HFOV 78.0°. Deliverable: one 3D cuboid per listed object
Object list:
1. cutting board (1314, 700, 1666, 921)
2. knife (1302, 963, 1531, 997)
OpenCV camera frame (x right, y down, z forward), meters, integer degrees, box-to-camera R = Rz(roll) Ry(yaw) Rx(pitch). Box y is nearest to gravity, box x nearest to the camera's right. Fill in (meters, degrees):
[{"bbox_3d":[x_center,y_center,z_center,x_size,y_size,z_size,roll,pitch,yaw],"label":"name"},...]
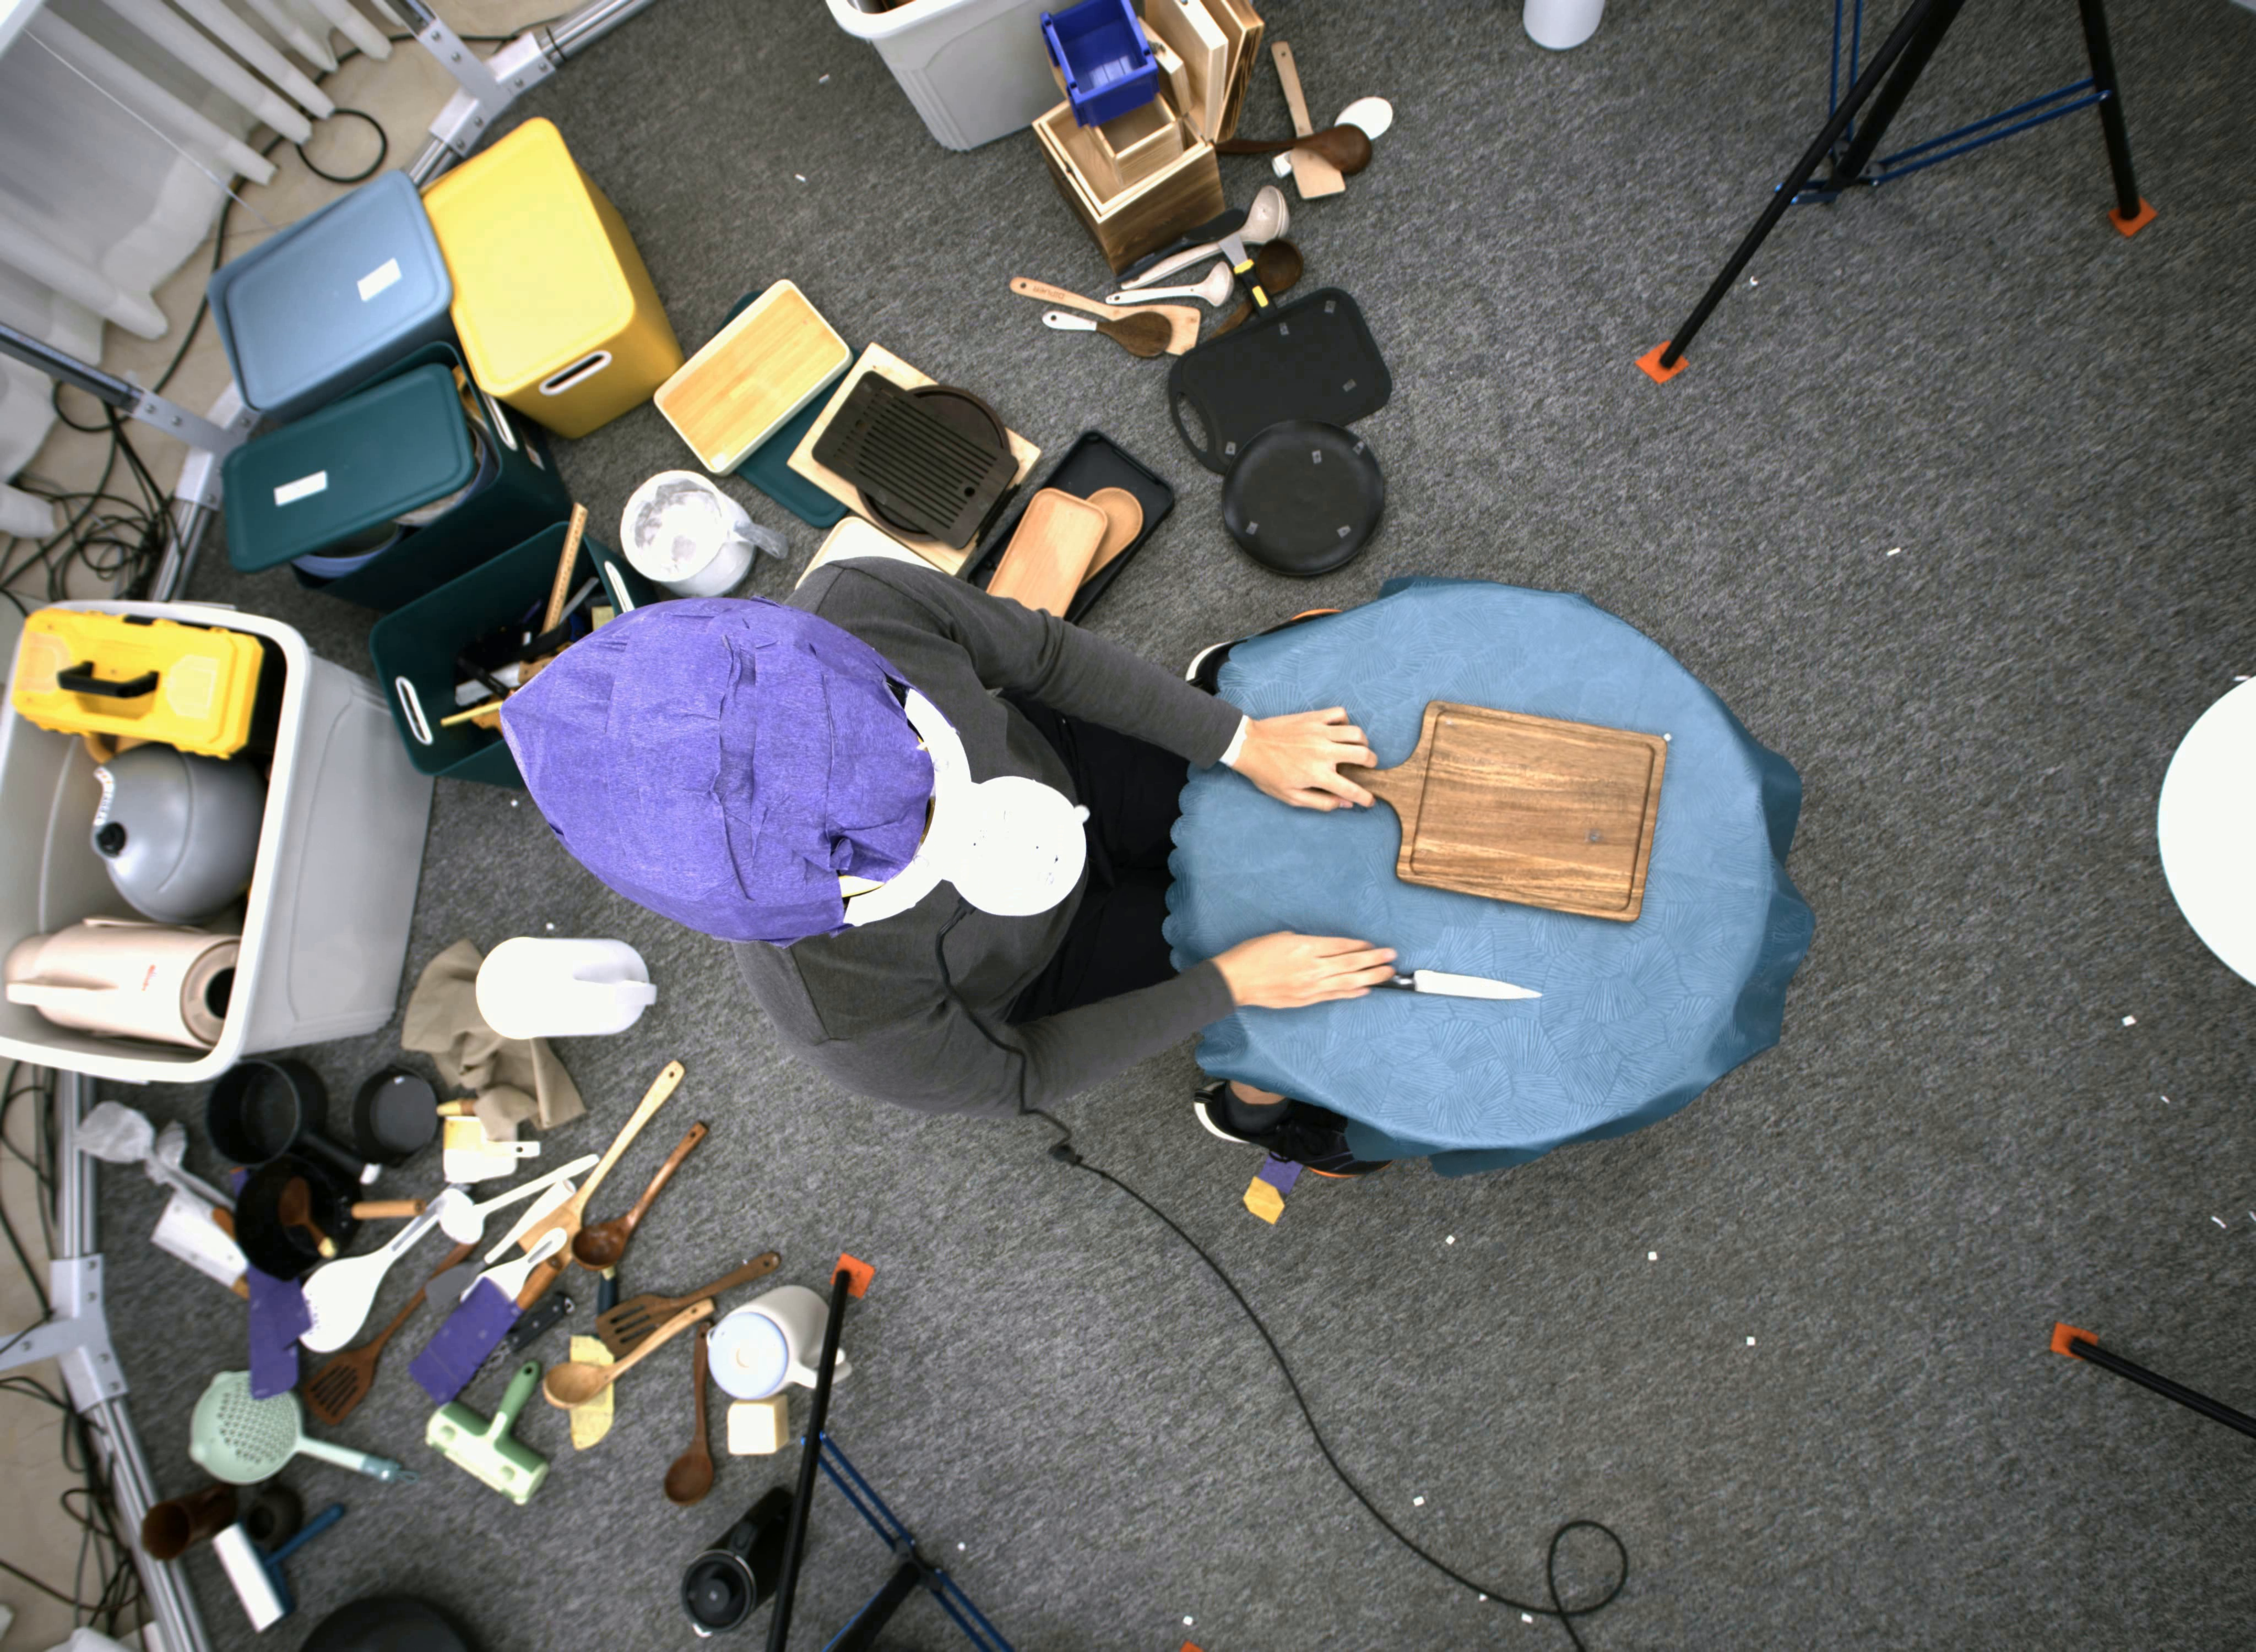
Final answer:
[{"bbox_3d":[0.370,-0.028,1.437,0.353,0.023,0.200,10,88,11],"label":"cutting board"},{"bbox_3d":[0.300,0.162,1.442,0.239,0.016,0.024,4,86,7],"label":"knife"}]
